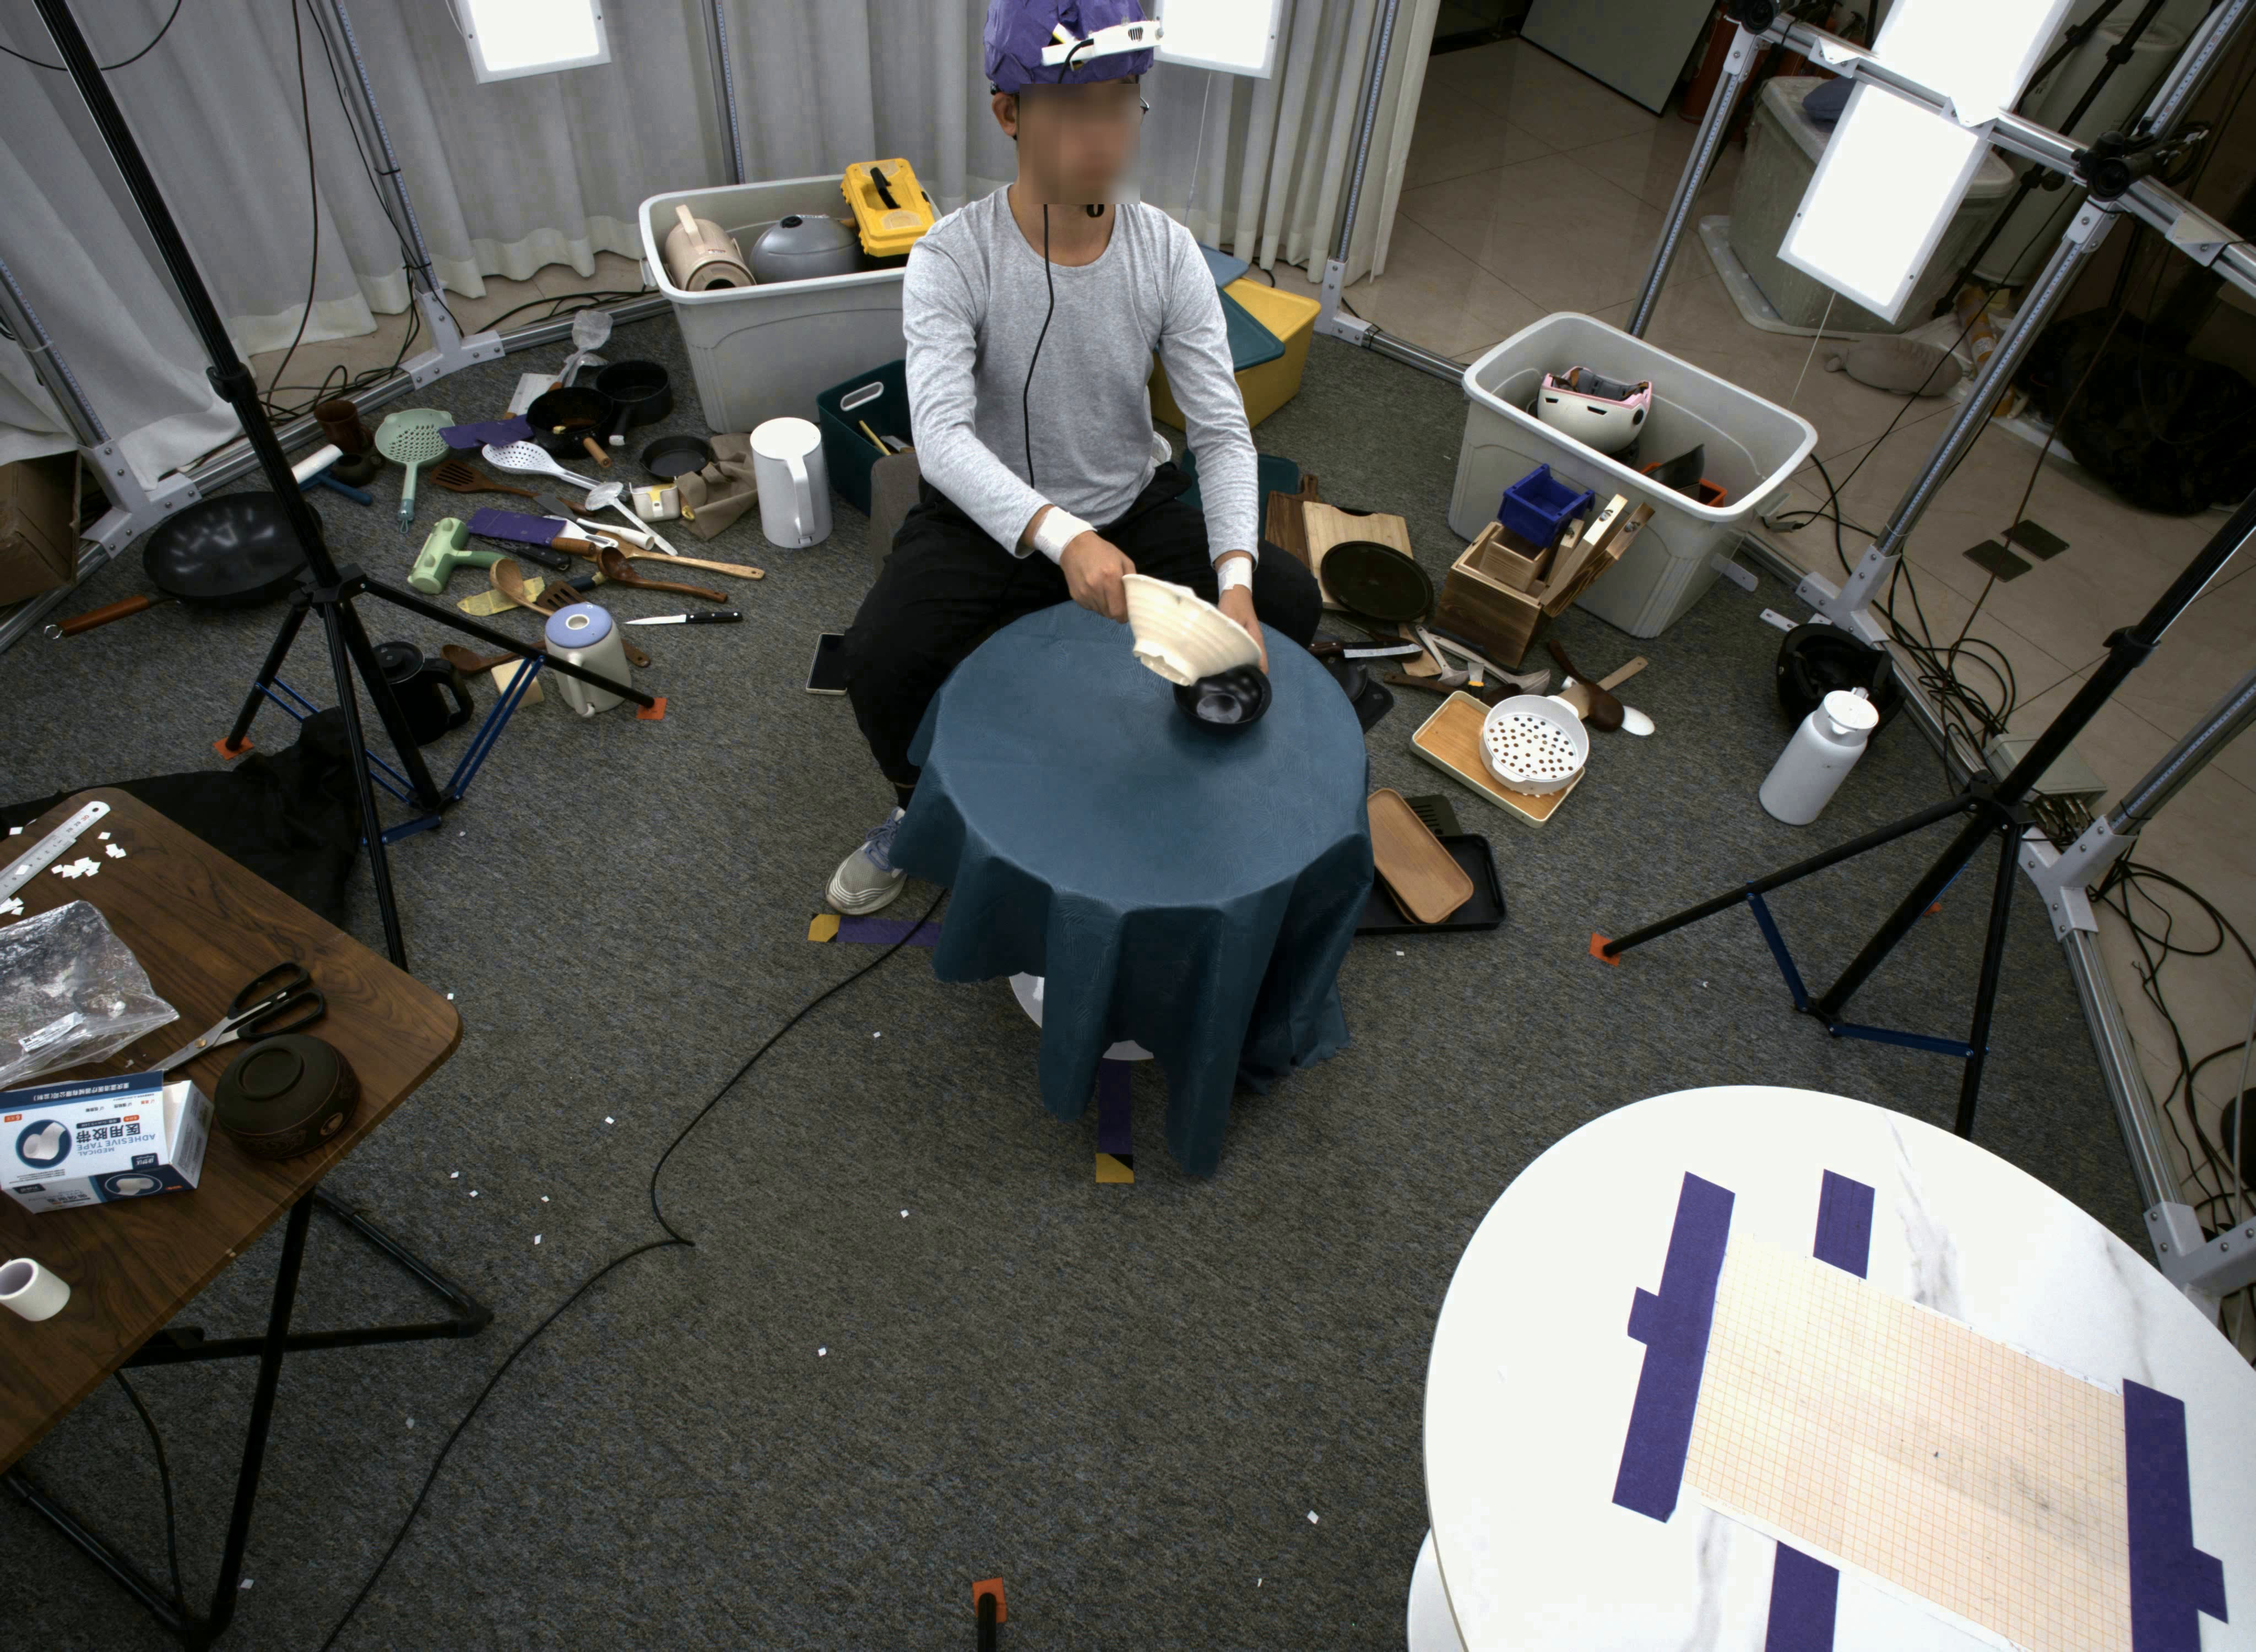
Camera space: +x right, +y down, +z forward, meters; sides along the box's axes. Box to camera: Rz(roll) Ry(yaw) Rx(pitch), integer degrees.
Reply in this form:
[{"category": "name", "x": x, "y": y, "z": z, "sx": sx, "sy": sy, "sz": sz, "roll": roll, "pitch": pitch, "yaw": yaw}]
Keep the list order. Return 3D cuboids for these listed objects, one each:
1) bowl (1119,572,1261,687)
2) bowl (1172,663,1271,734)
[{"category": "bowl", "x": 0.060, "y": -0.229, "z": 1.606, "sx": 0.206, "sy": 0.201, "sz": 0.078, "roll": 28, "pitch": 85, "yaw": 18}, {"category": "bowl", "x": 0.129, "y": -0.174, "z": 1.800, "sx": 0.140, "sy": 0.048, "sz": 0.143, "roll": 2, "pitch": 45, "yaw": -2}]
